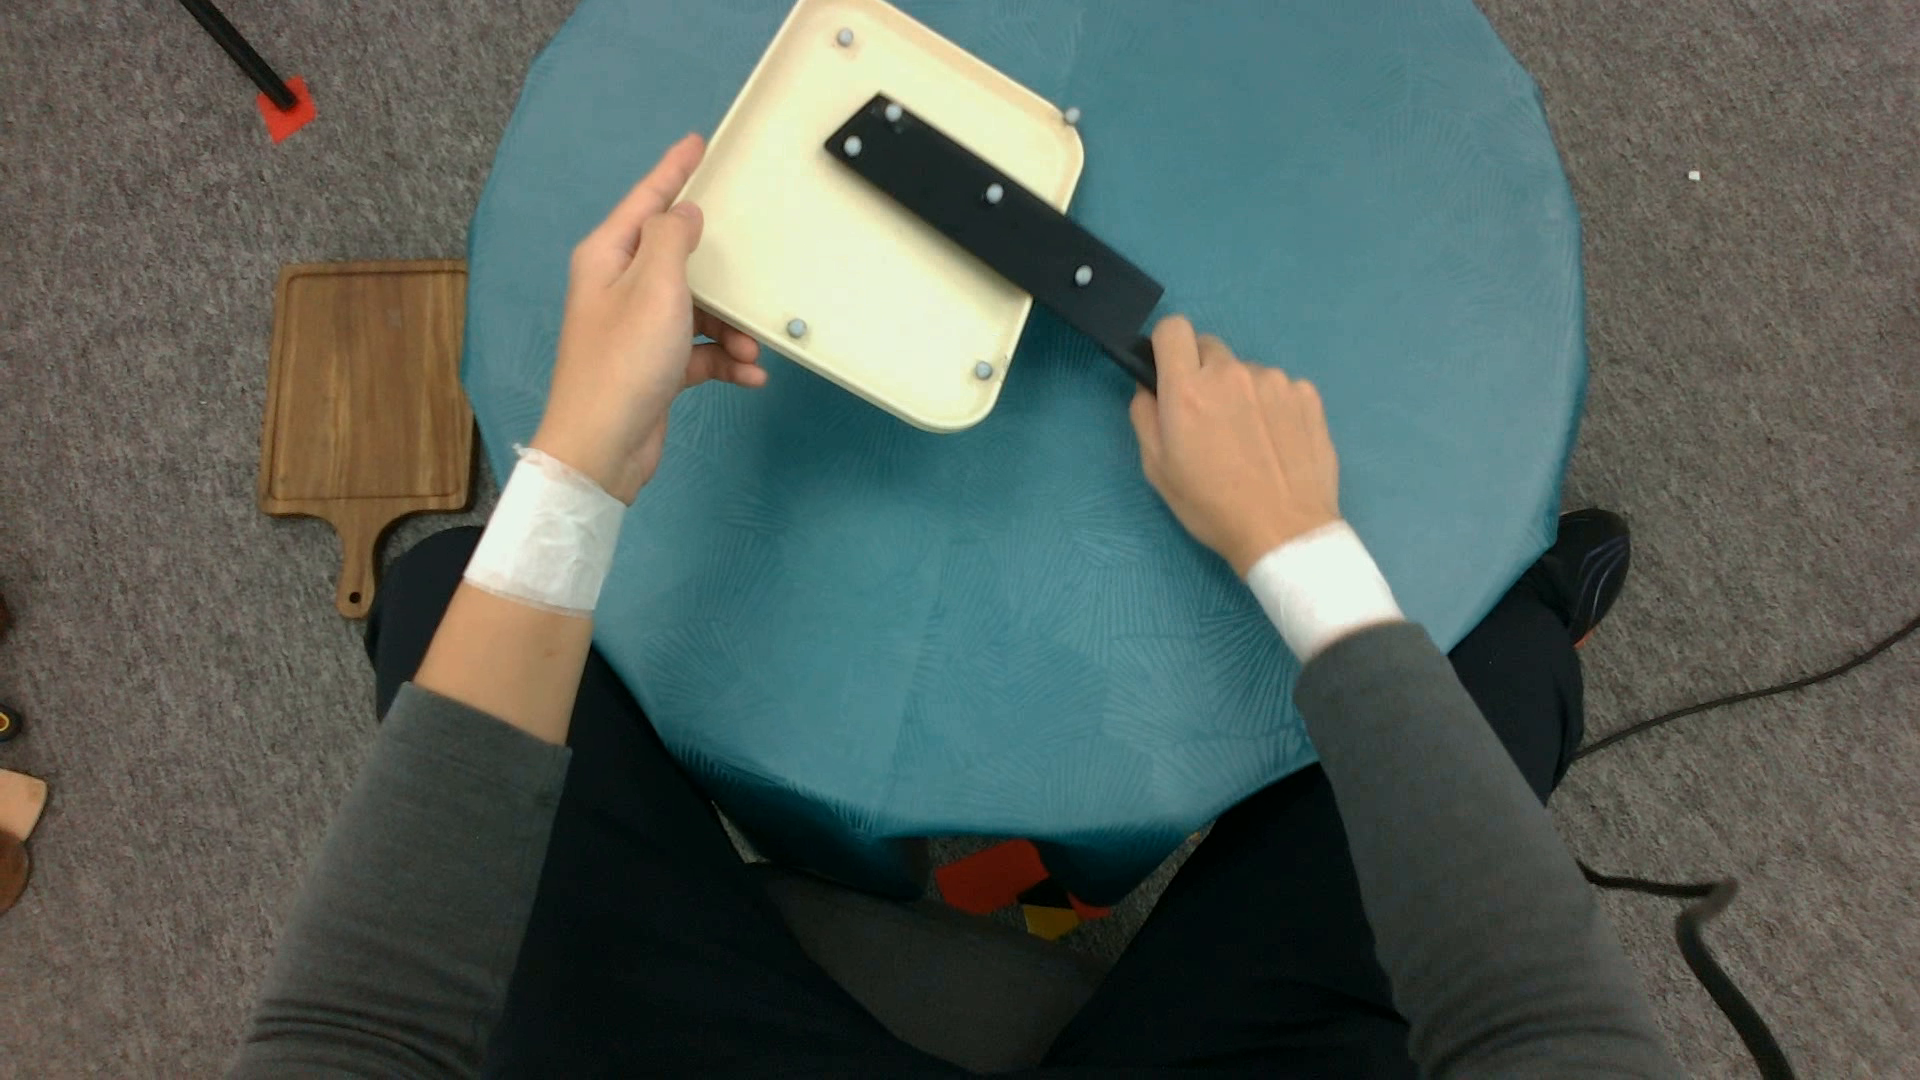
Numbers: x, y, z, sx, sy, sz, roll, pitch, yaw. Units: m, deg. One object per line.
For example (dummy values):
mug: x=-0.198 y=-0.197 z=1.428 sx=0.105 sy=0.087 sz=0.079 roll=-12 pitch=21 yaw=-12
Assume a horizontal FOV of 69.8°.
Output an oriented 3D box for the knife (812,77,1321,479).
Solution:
knife: x=0.059 y=-0.131 z=0.697 sx=0.302 sy=0.021 sz=0.081 roll=39 pitch=53 yaw=0

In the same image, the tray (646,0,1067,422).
tray: x=-0.042 y=-0.173 z=0.678 sx=0.171 sy=0.017 sz=0.241 roll=28 pitch=54 yaw=-12
